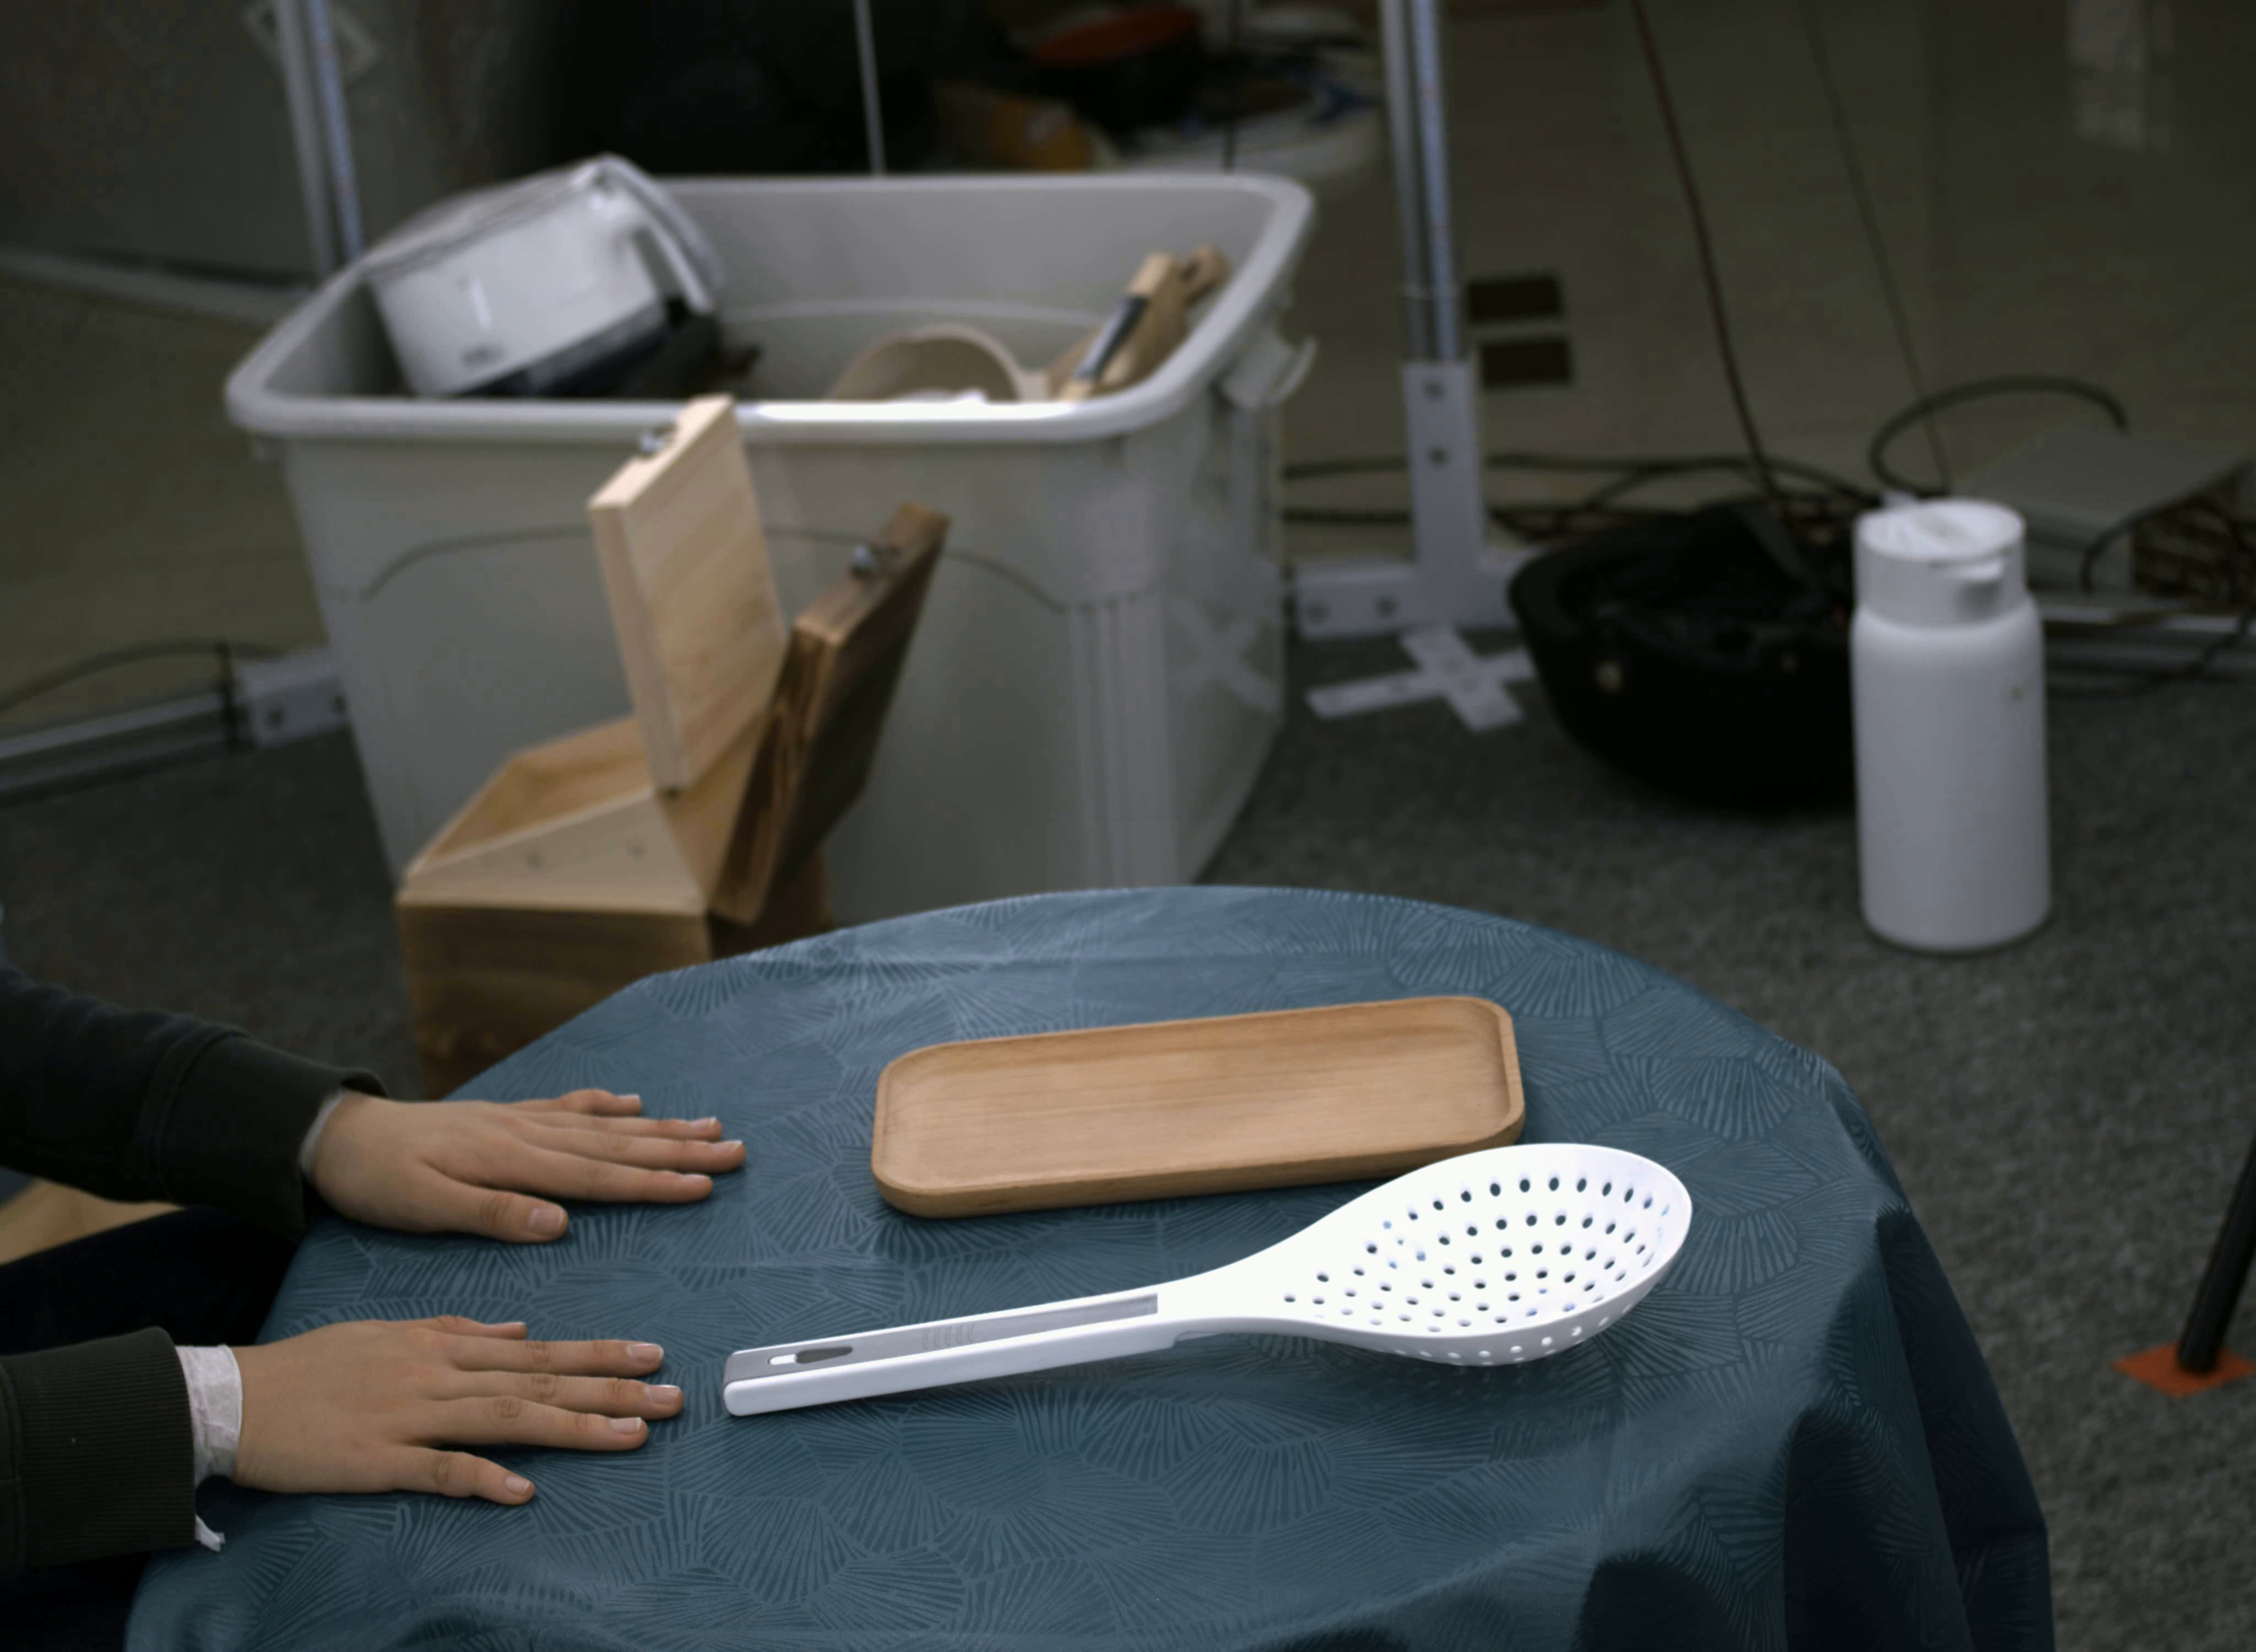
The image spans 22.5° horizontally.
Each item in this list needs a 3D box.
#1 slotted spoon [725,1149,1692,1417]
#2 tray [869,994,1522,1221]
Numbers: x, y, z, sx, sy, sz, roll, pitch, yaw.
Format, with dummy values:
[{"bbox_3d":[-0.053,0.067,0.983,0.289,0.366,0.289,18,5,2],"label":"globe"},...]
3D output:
[{"bbox_3d":[0.028,0.172,2.021,0.349,0.046,0.134,-6,23,3],"label":"slotted spoon"},{"bbox_3d":[0.026,0.109,2.191,0.250,0.023,0.129,-6,23,3],"label":"tray"}]
